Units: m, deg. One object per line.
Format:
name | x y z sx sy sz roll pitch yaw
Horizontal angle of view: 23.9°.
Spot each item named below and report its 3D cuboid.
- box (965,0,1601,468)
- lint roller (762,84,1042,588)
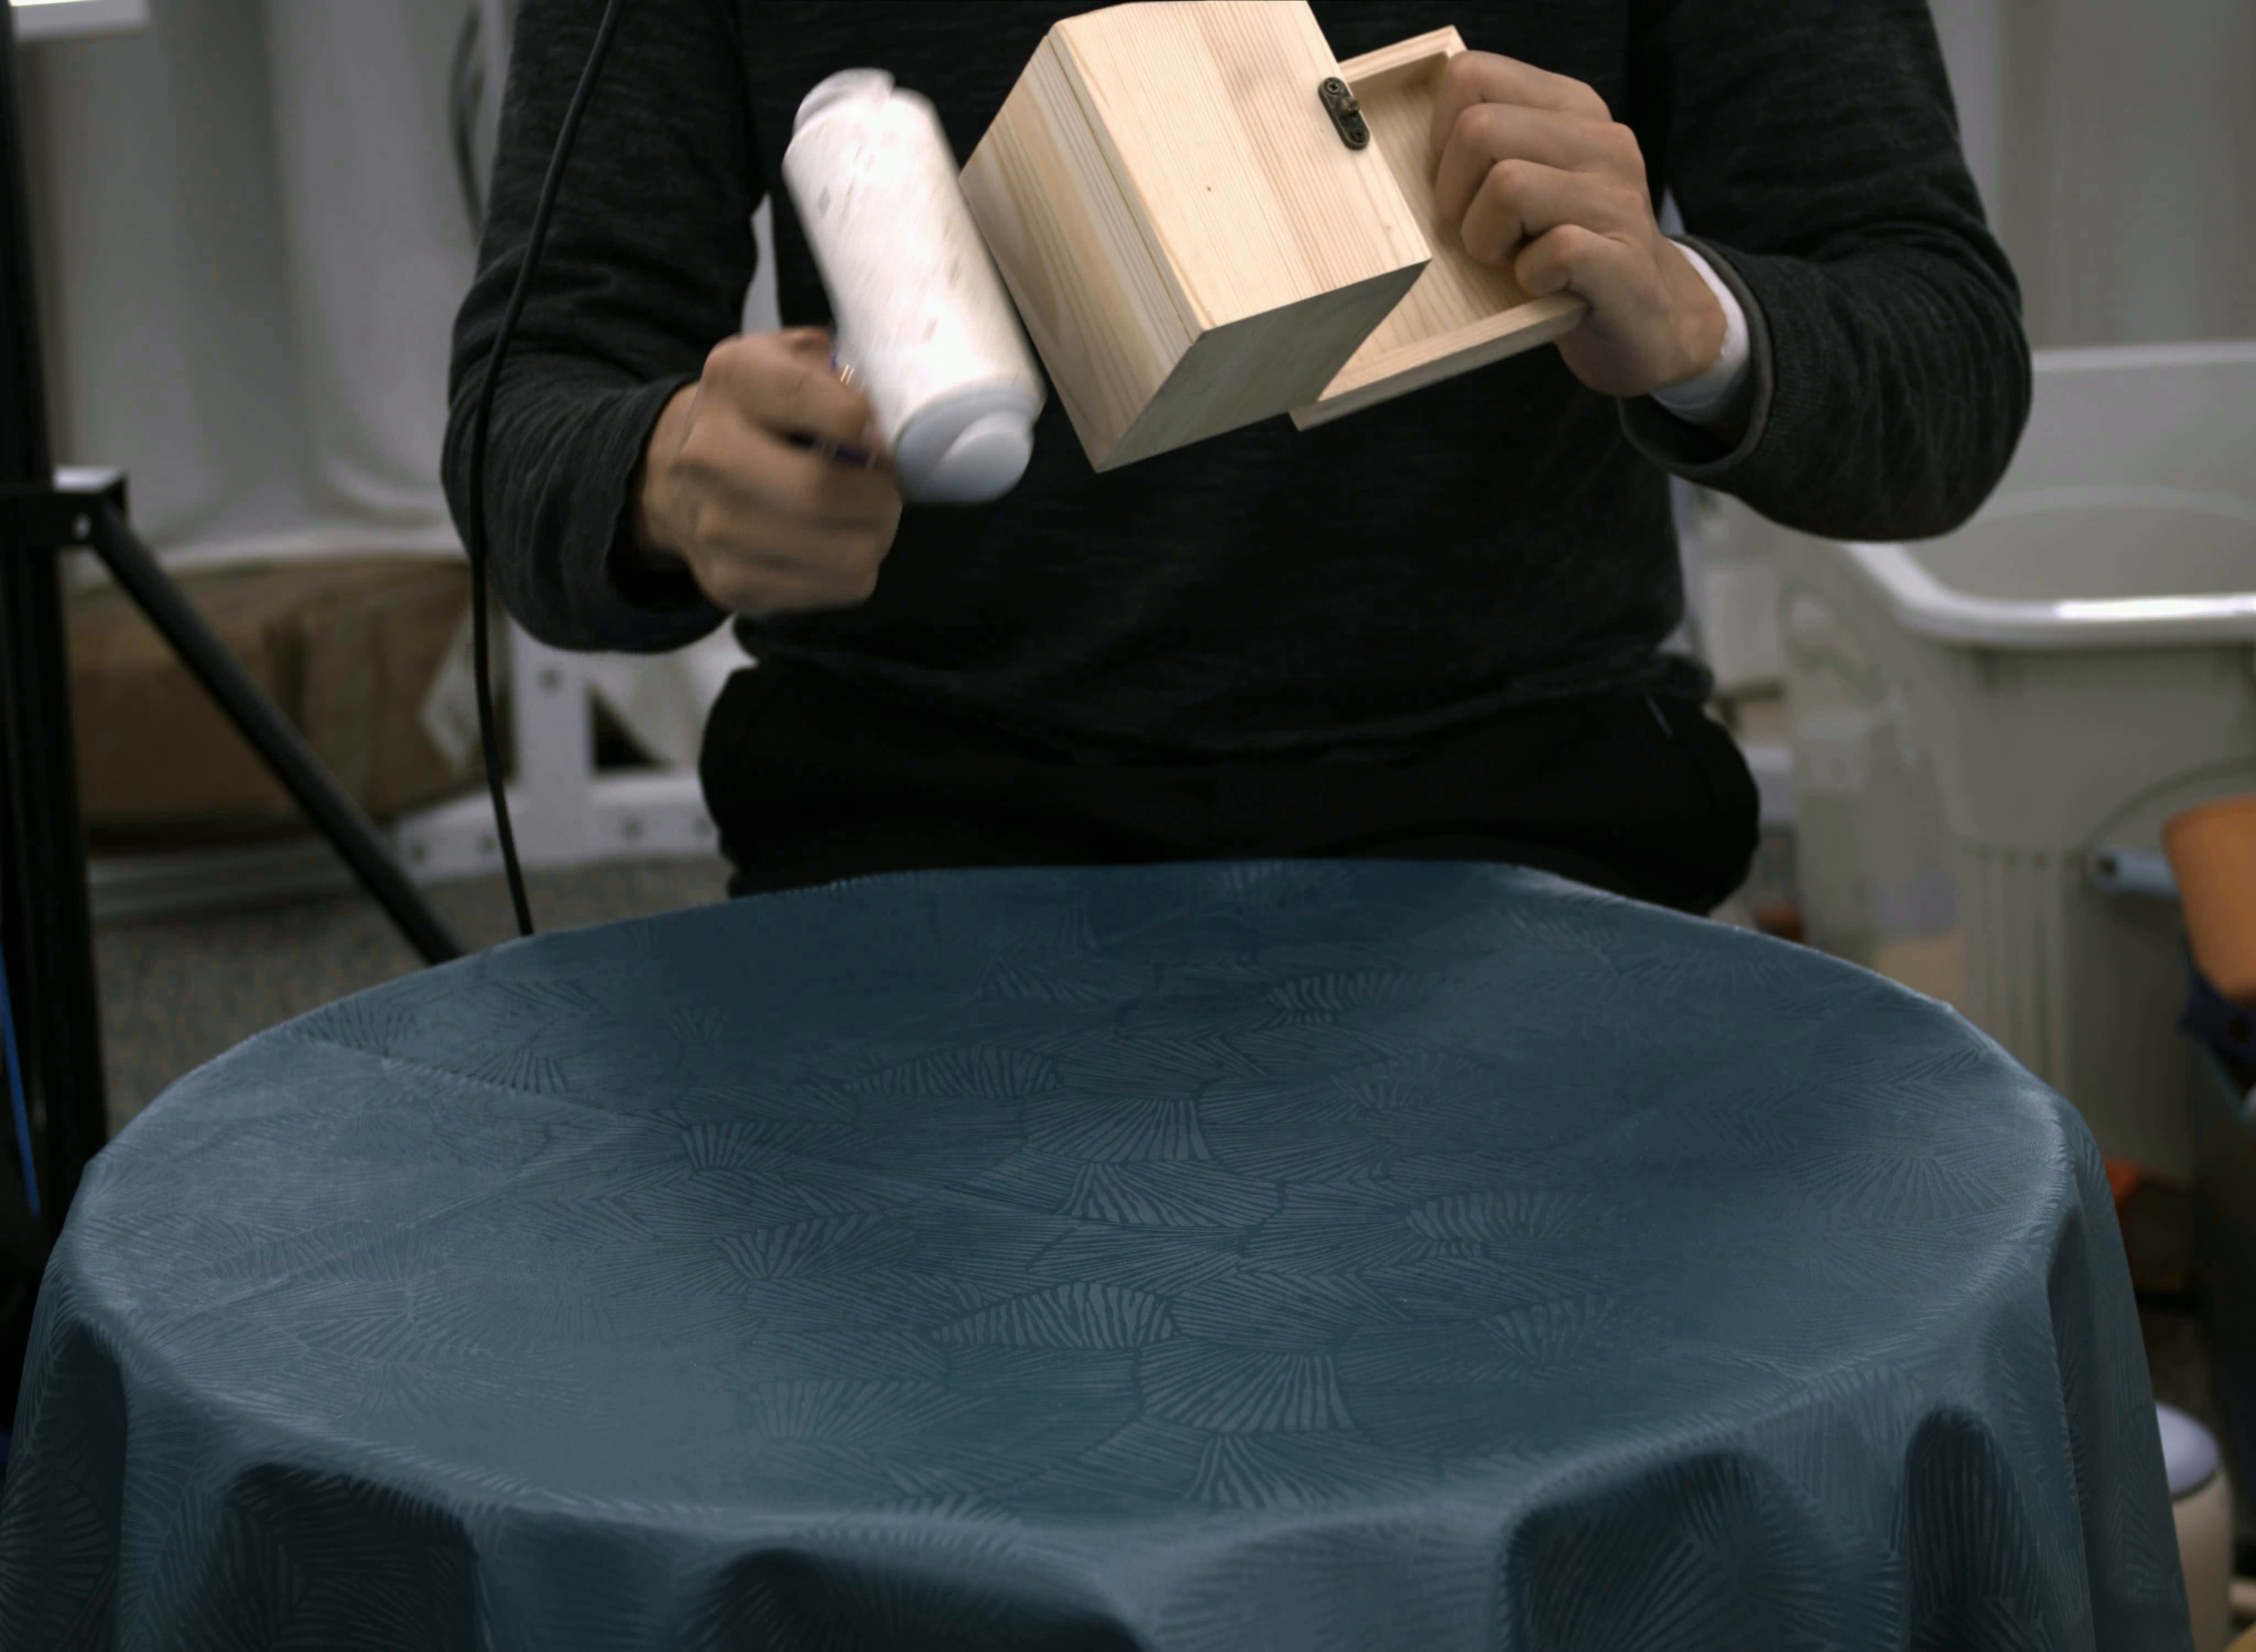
box | 0.061 -0.189 1.573 0.181 0.104 0.135 -19 -14 -24
lint roller | -0.089 -0.124 1.587 0.049 0.135 0.182 -8 -23 -31
